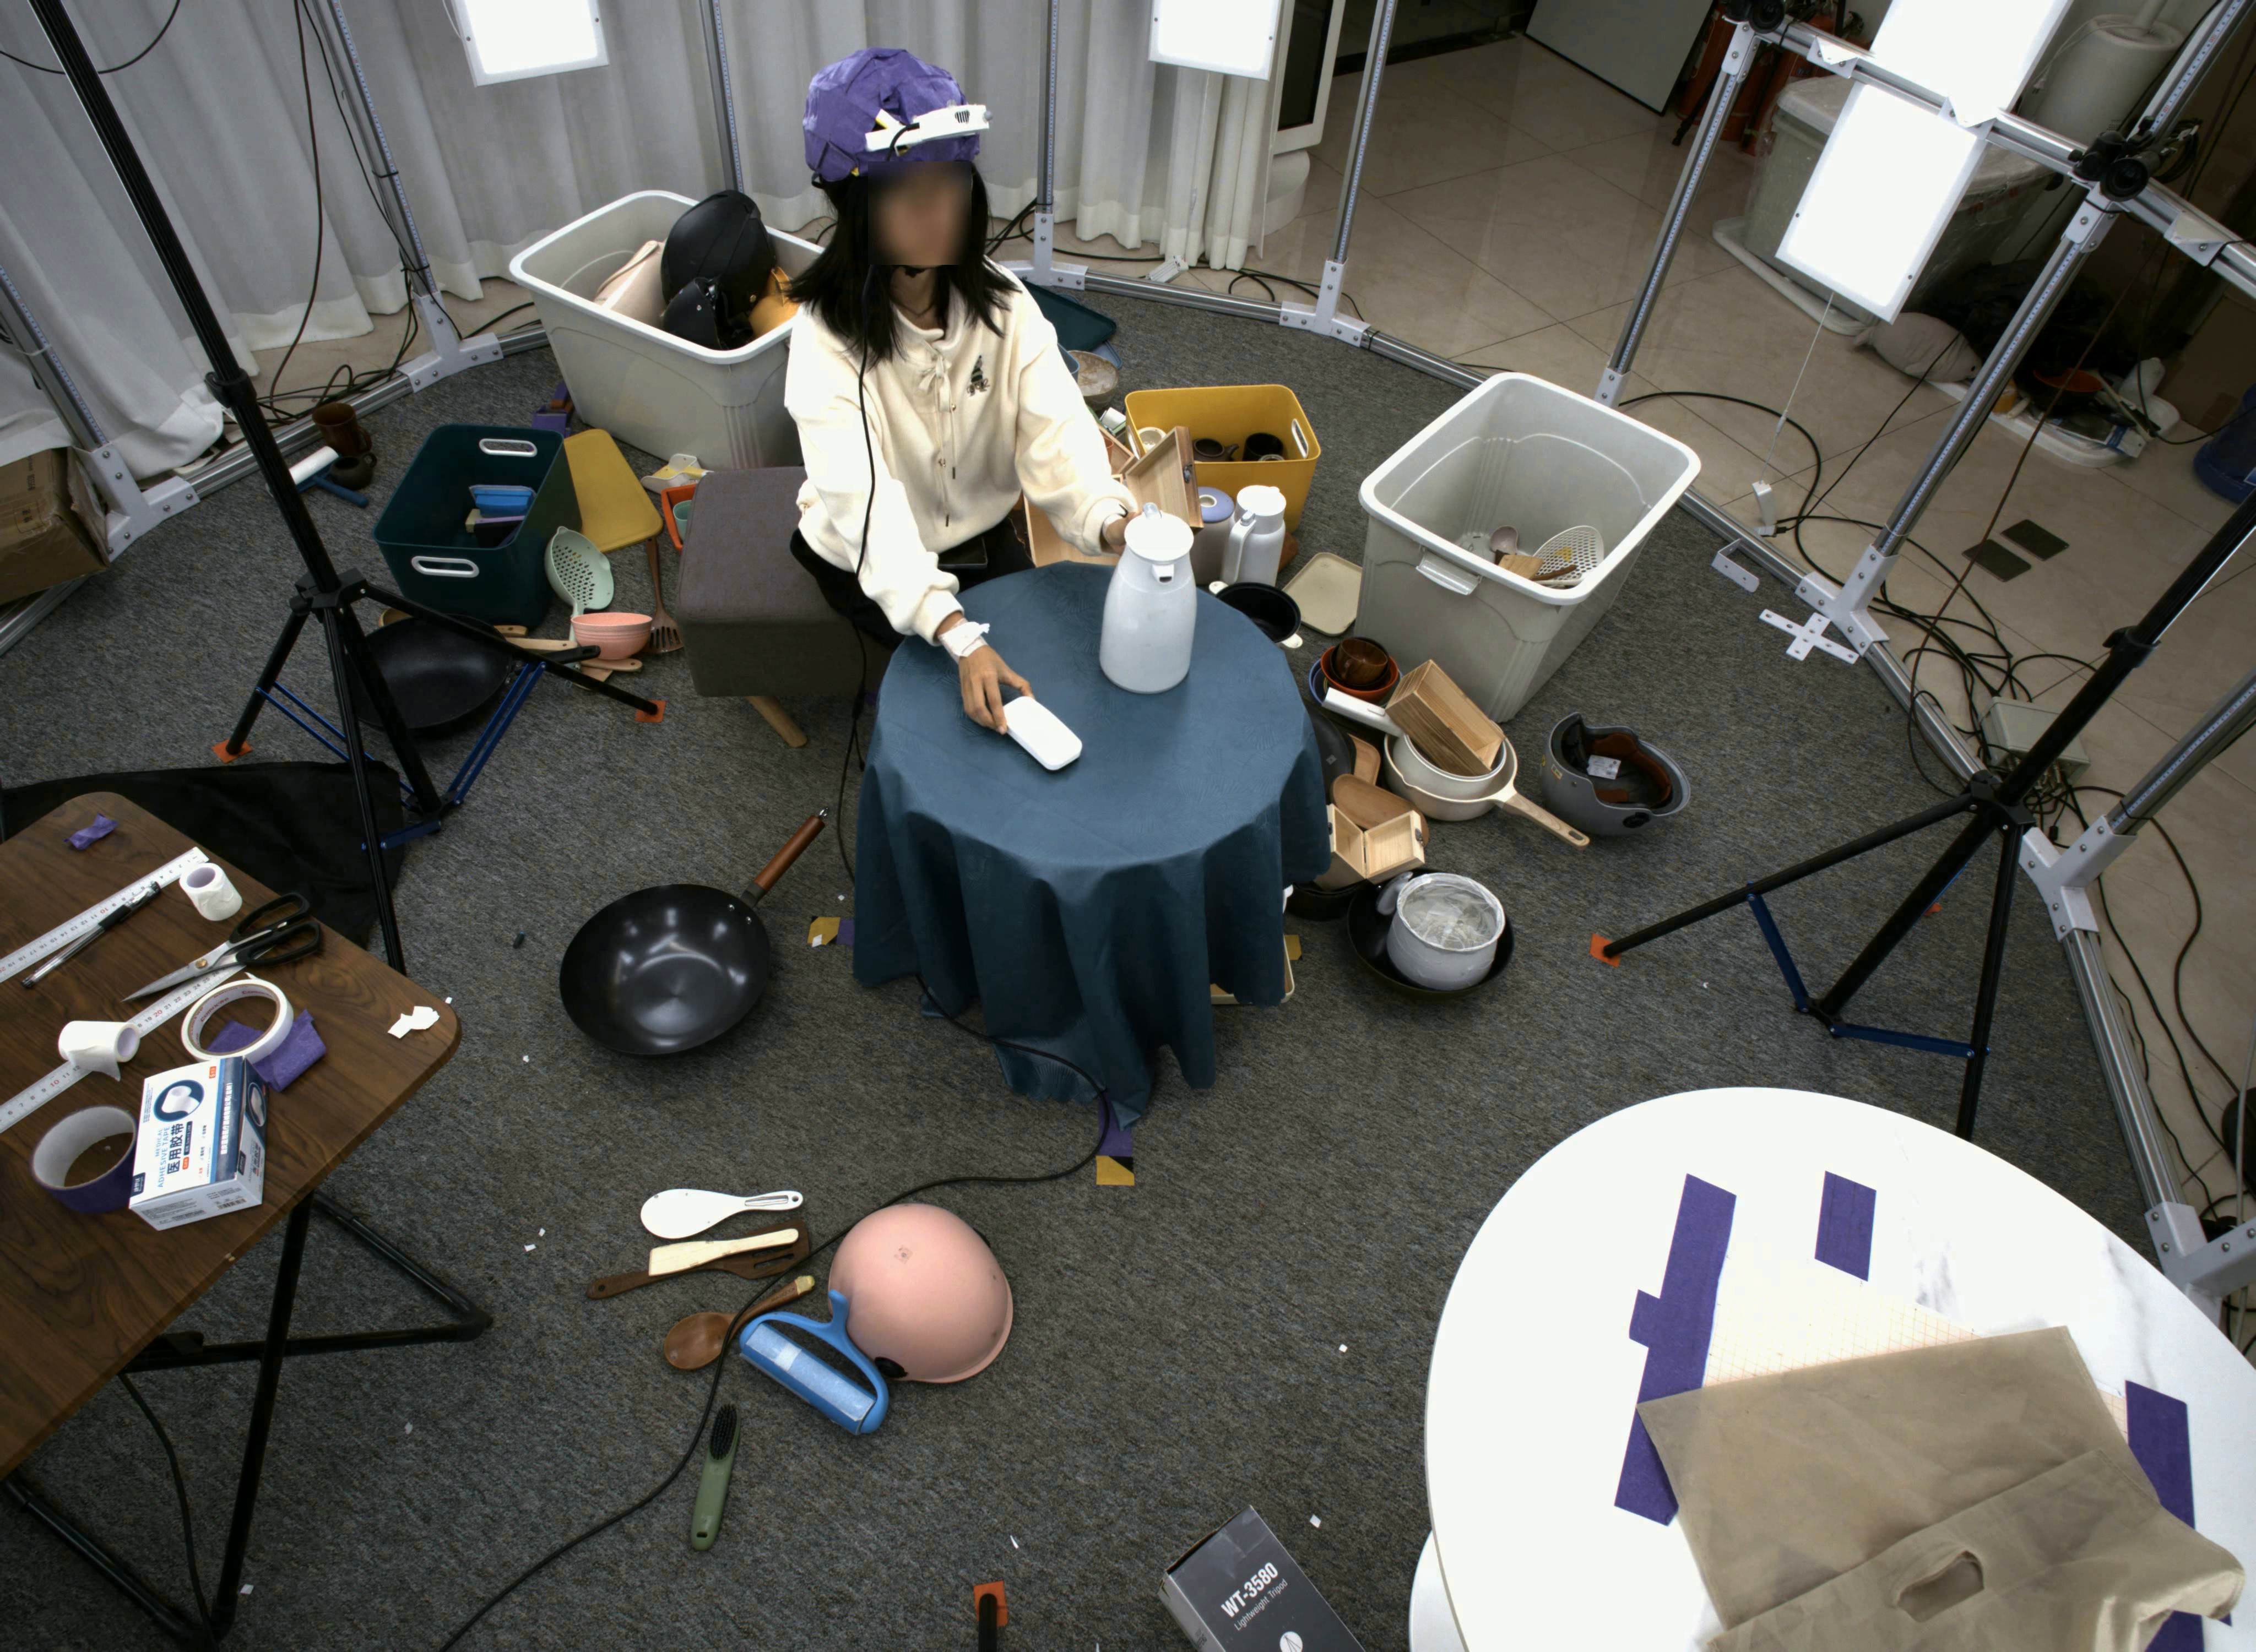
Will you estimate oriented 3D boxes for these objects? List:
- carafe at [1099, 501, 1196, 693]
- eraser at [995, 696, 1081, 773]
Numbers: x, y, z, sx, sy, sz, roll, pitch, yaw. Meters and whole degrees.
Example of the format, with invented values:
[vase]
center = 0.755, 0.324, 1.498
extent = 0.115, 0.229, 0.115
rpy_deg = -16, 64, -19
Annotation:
[carafe]
center = 0.028, -0.330, 1.790
extent = 0.132, 0.243, 0.172
rpy_deg = -6, 53, -9
[eraser]
center = -0.123, -0.128, 1.753
extent = 0.064, 0.034, 0.133
rpy_deg = -30, 58, -29
